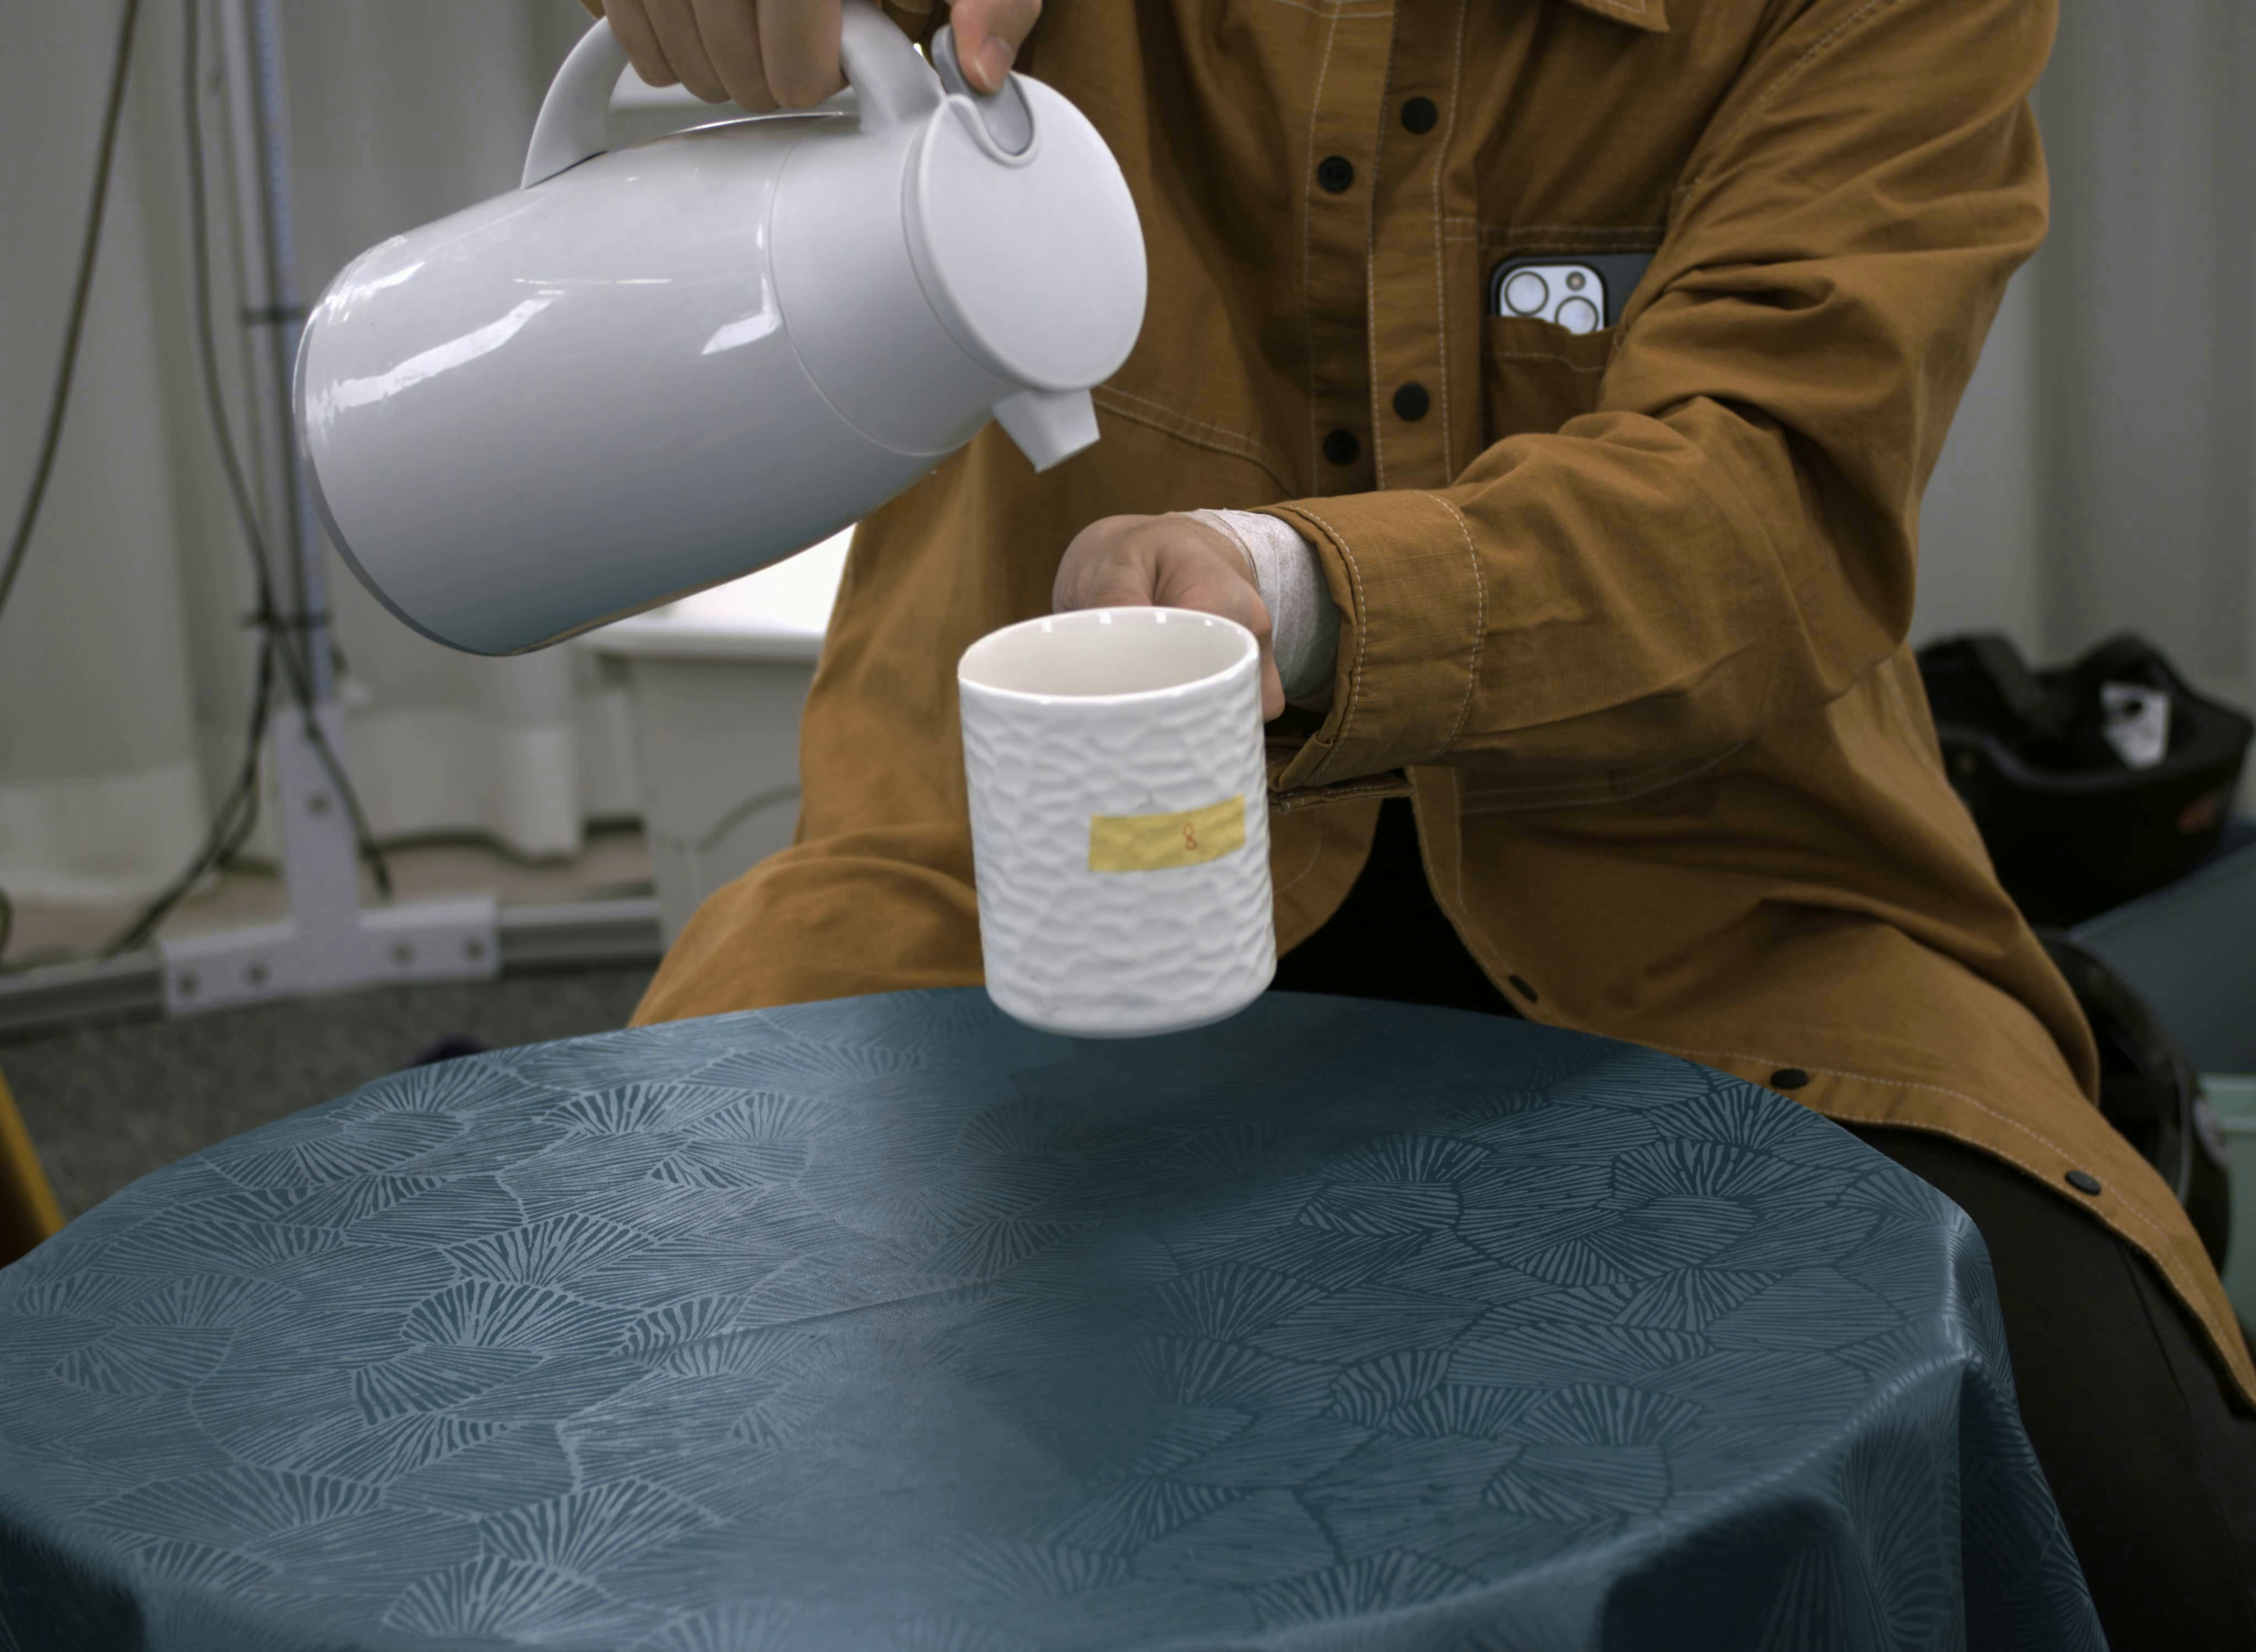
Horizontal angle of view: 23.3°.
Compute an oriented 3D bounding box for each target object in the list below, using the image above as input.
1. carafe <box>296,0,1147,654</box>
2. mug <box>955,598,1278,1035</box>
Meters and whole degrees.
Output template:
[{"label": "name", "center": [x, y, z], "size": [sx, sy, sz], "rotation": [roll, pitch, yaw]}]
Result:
[{"label": "carafe", "center": [-0.119, -0.157, 1.581], "size": [0.248, 0.167, 0.133], "rotation": [-16, 10, 40]}, {"label": "mug", "center": [-0.003, -0.008, 1.554], "size": [0.084, 0.101, 0.119], "rotation": [-5, 19, 0]}]
